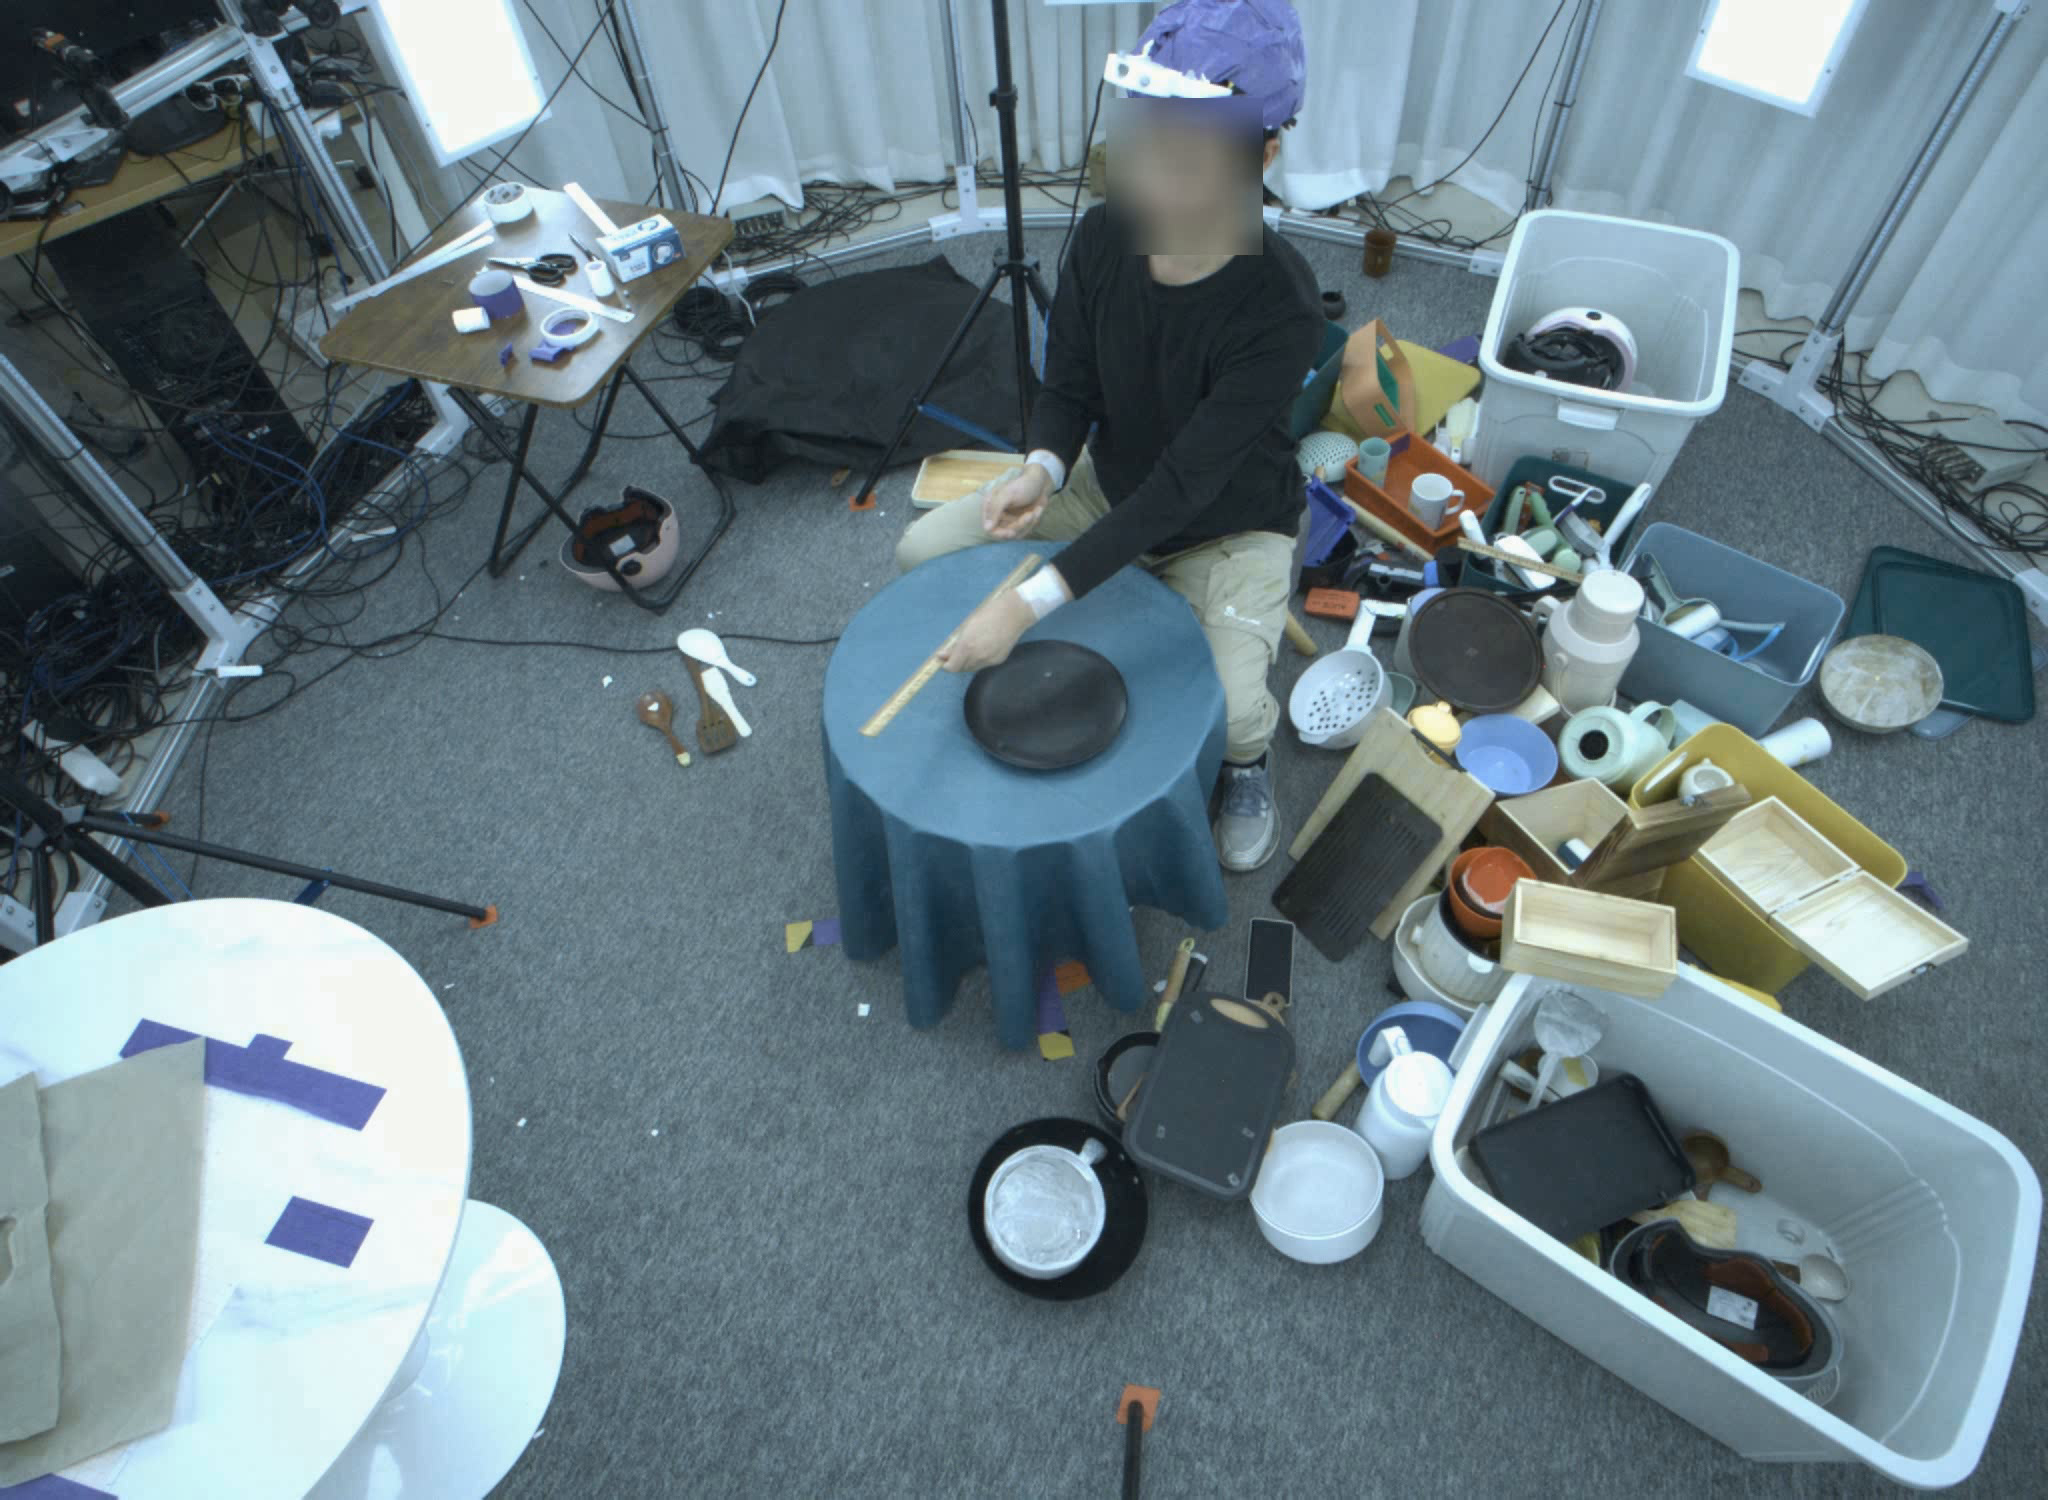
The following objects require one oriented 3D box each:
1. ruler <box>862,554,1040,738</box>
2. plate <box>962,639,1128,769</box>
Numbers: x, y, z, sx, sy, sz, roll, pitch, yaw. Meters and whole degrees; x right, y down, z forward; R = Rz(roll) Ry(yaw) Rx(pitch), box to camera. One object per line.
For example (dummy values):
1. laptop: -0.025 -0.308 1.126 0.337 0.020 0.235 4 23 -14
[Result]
1. ruler: -0.095 -0.166 1.798 0.026 0.006 0.502 18 44 19
2. plate: 0.032 -0.066 1.819 0.244 0.024 0.242 0 55 2
